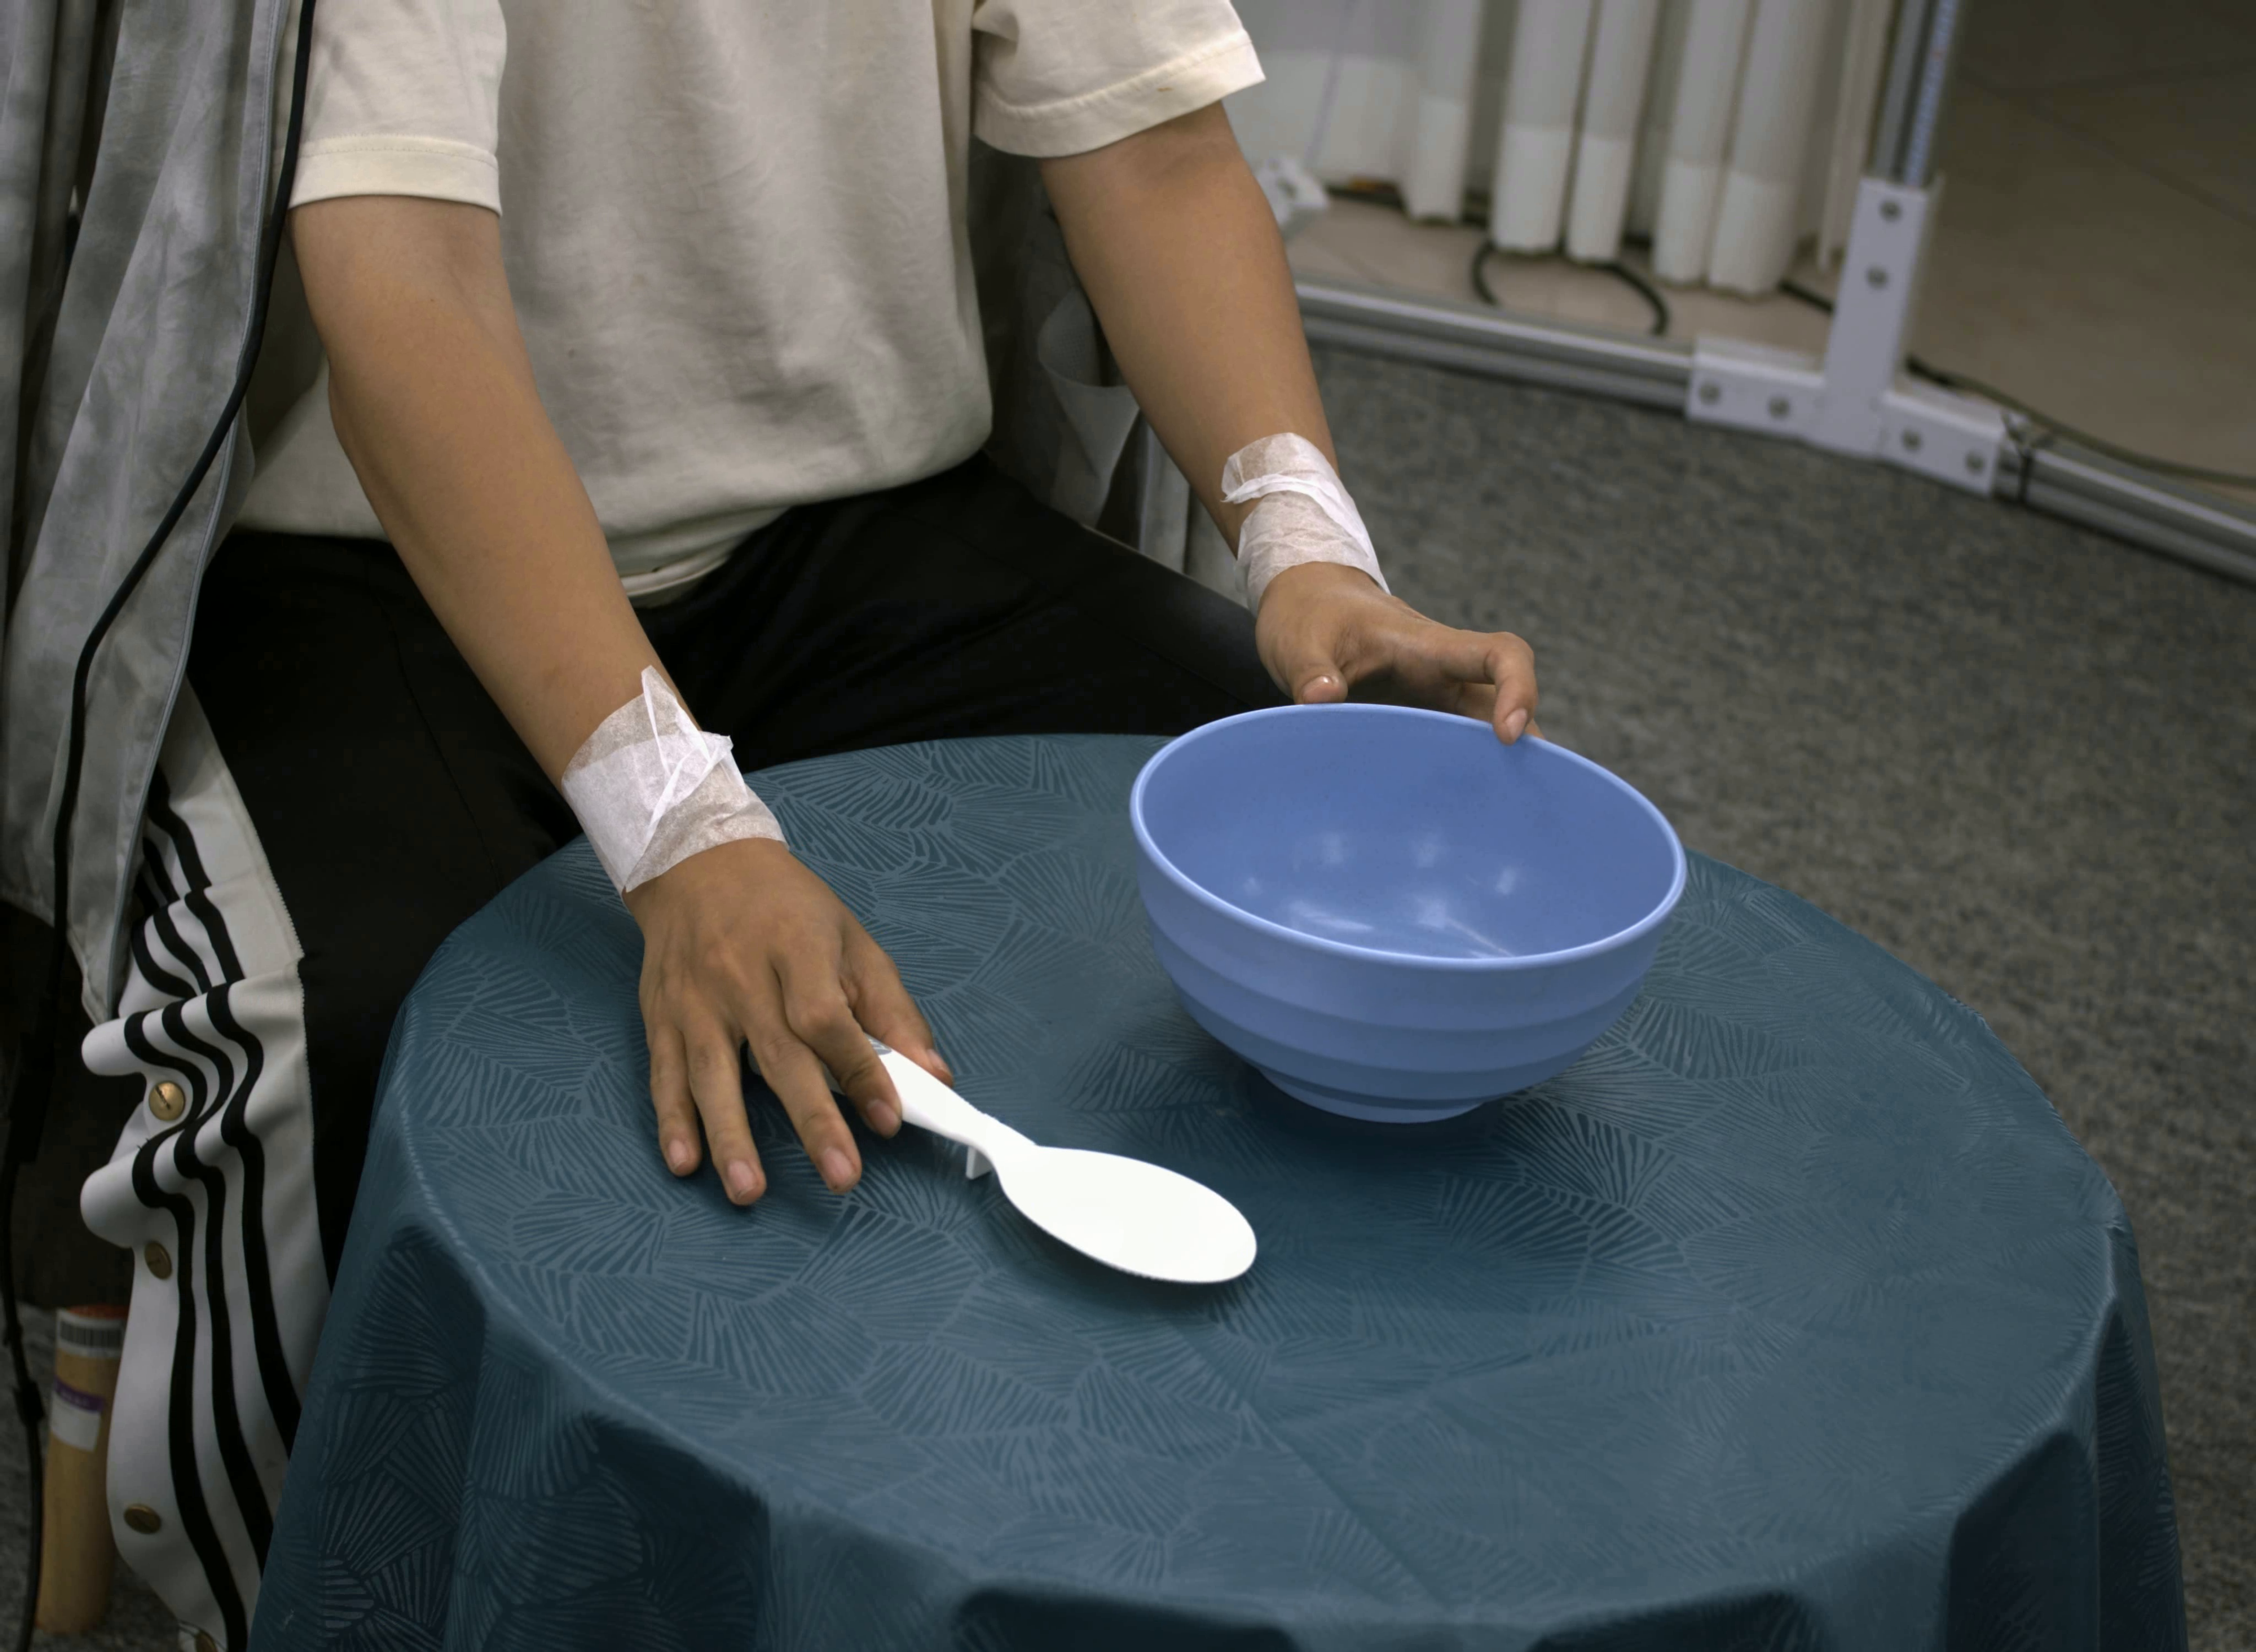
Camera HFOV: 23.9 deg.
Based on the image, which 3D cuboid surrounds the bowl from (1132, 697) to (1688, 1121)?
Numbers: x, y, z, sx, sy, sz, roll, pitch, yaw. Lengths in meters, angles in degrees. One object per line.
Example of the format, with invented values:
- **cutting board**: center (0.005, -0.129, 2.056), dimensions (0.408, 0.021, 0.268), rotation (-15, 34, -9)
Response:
- **bowl**: center (0.094, 0.041, 1.883), dimensions (0.196, 0.095, 0.198), rotation (5, 28, -3)

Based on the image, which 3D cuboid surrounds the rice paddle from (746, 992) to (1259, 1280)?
- **rice paddle**: center (-0.042, 0.107, 1.795), dimensions (0.206, 0.029, 0.068), rotation (24, 29, 31)
